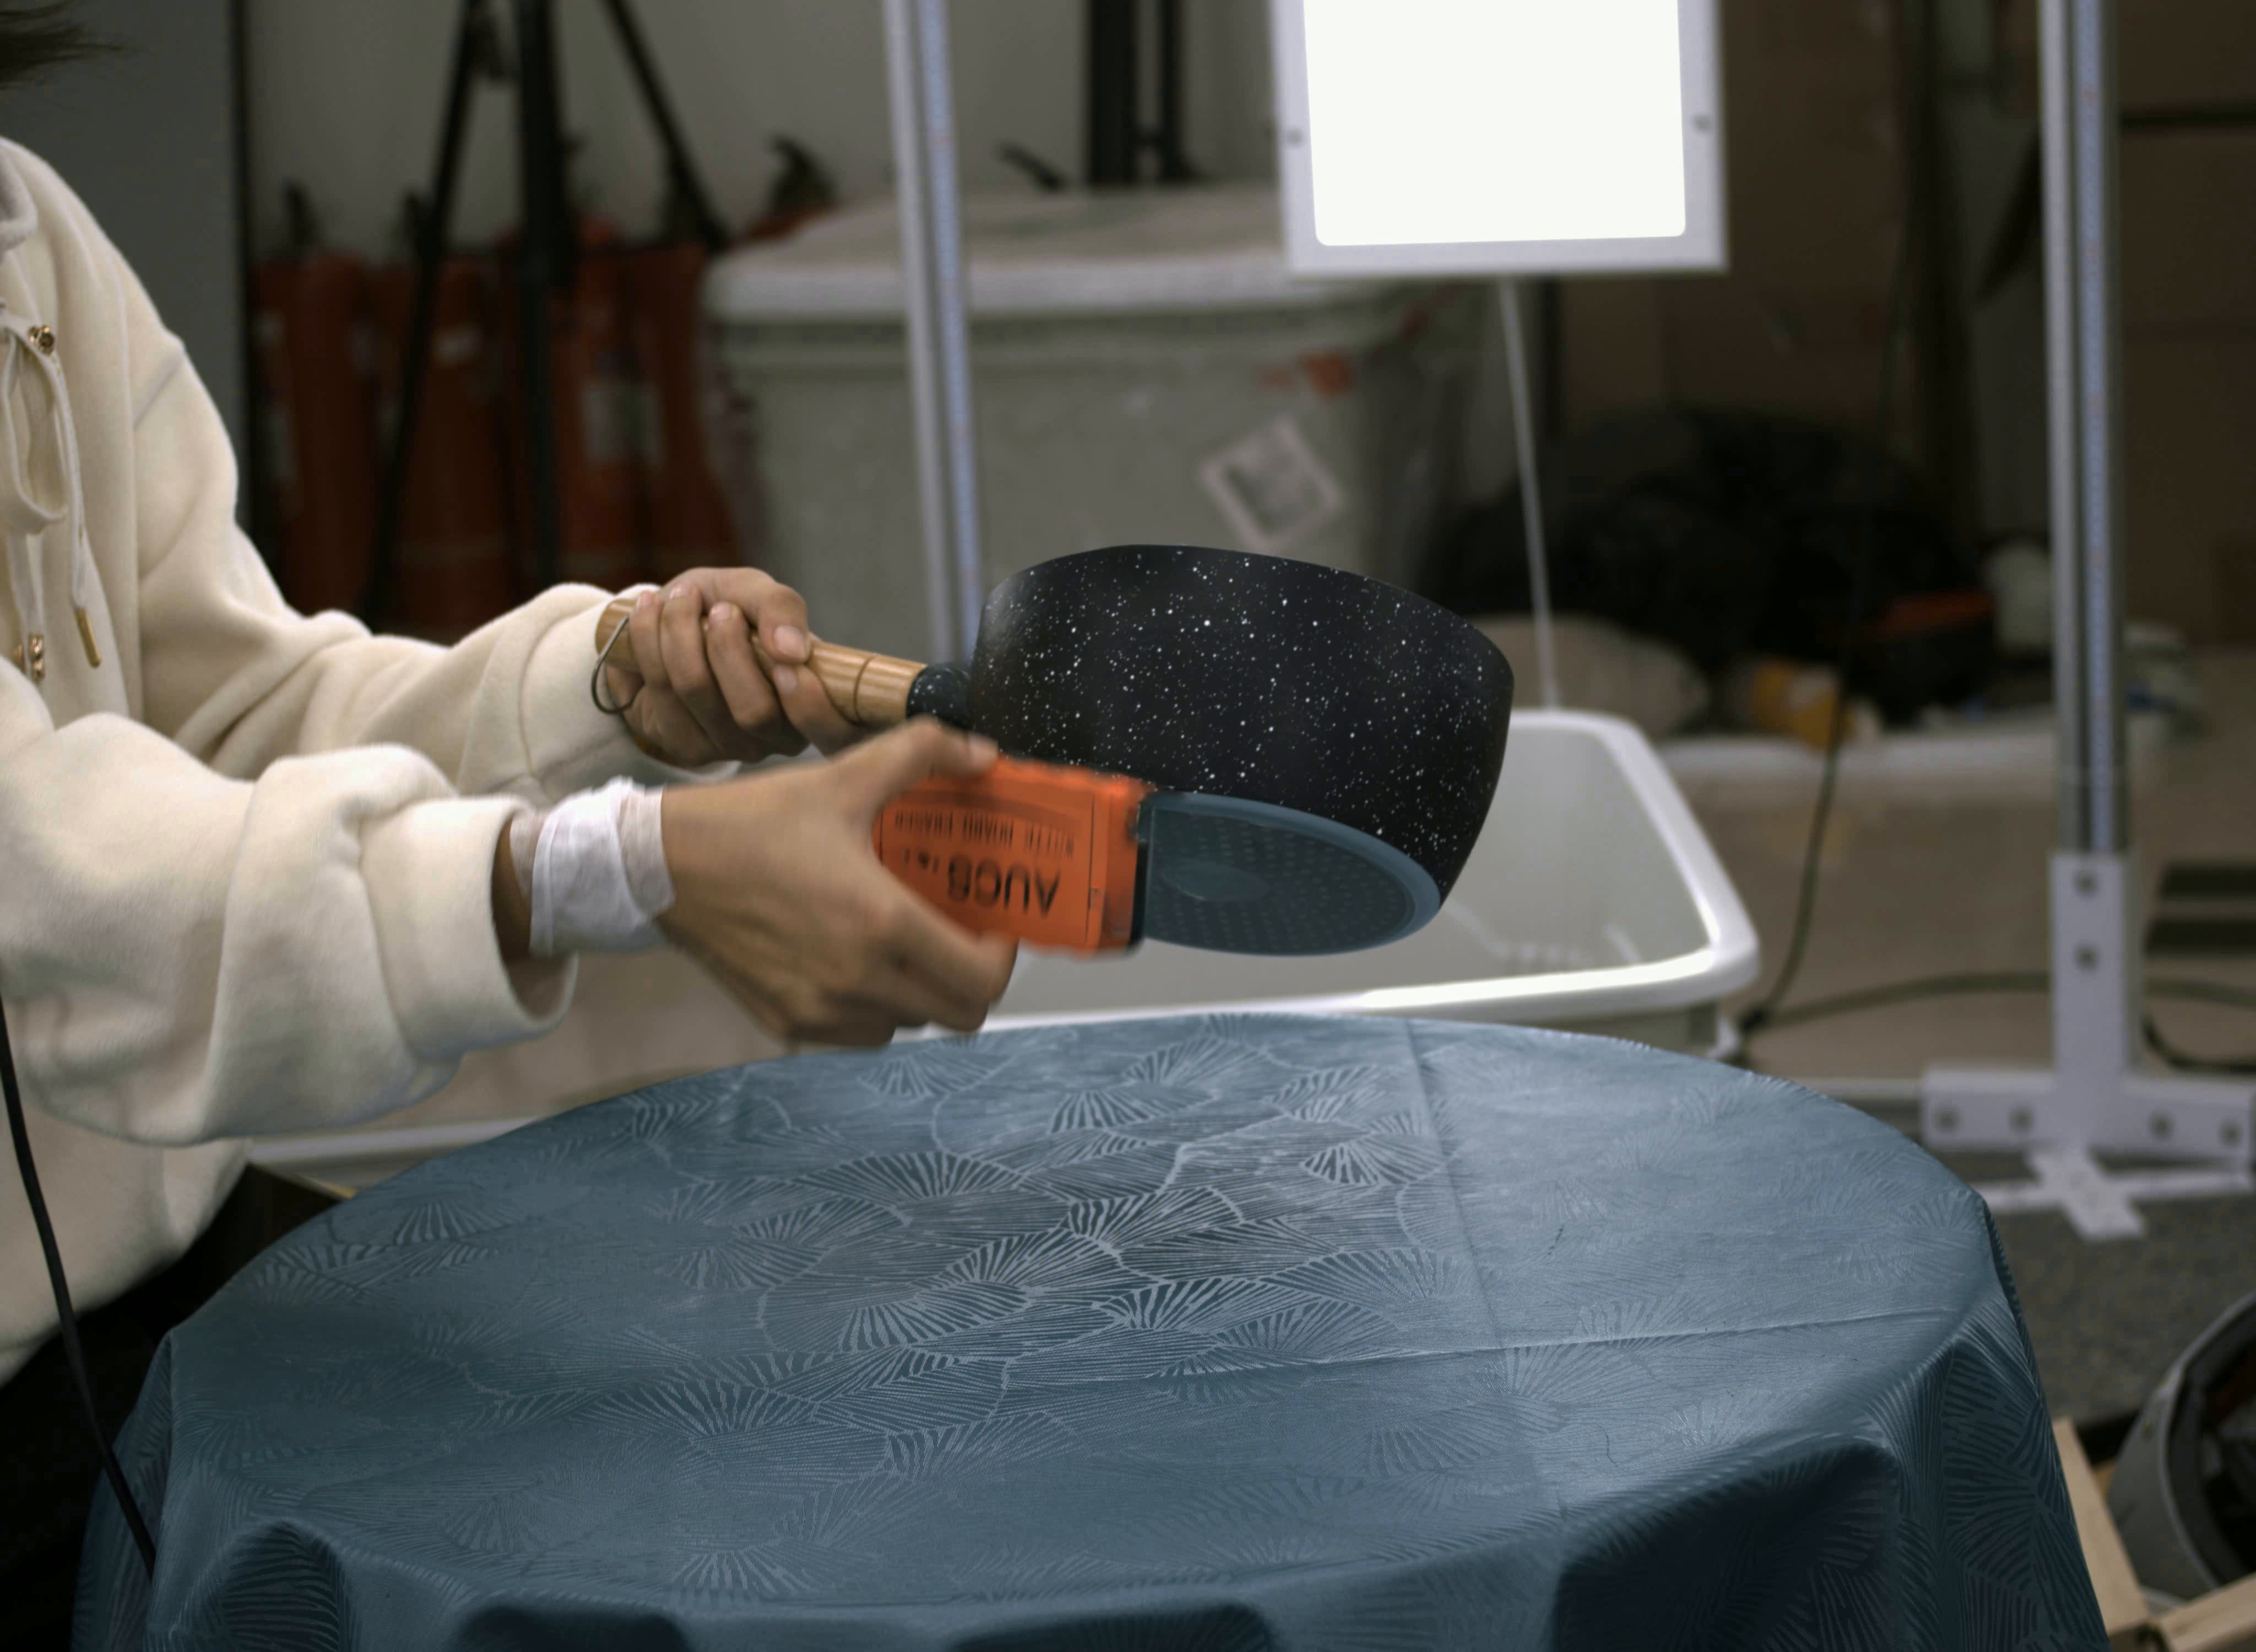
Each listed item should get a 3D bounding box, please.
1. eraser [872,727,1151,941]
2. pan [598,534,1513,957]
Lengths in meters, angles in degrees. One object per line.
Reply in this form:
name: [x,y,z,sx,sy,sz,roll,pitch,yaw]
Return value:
eraser: [-0.038,0.002,1.786,0.110,0.059,0.022,10,12,44]
pan: [-0.039,-0.031,1.893,0.348,0.108,0.205,2,-20,24]
